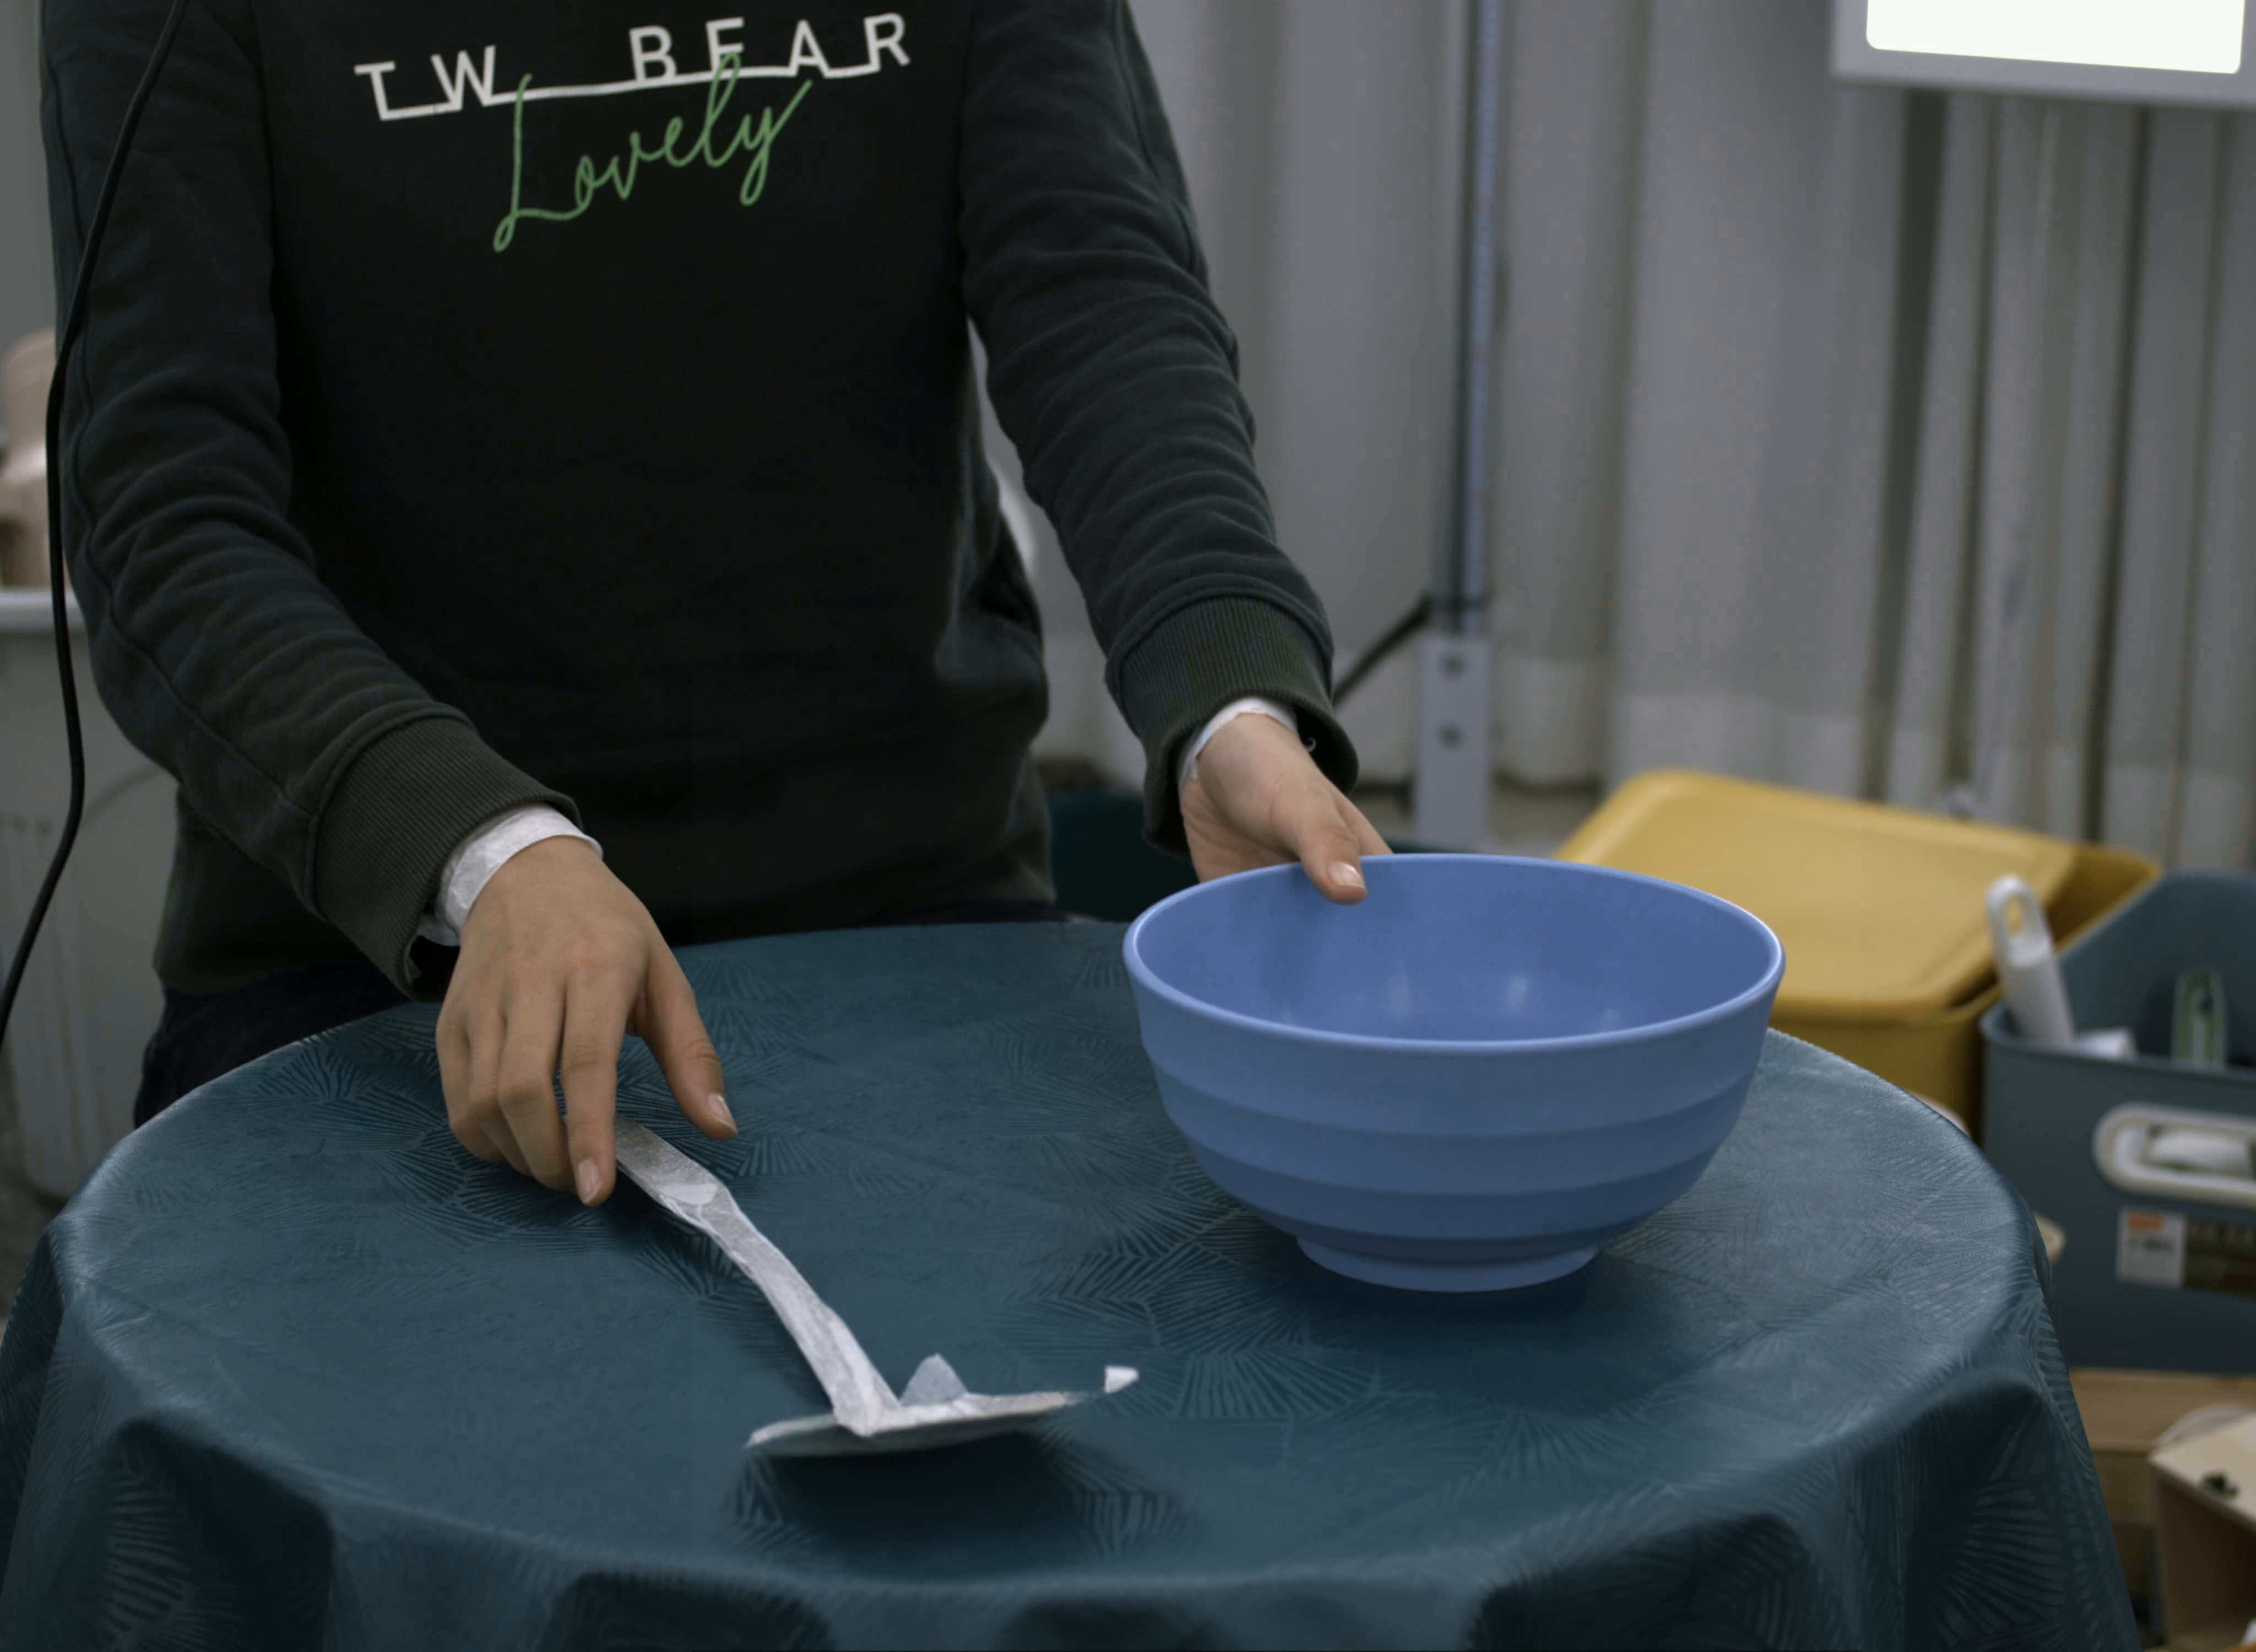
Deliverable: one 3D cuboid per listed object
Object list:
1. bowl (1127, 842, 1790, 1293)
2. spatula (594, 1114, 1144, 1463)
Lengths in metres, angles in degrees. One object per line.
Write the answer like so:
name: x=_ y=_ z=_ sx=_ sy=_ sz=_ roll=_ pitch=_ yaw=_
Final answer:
bowl: x=0.097 y=0.079 z=1.573 sx=0.196 sy=0.096 sz=0.195 roll=1 pitch=18 yaw=0
spatula: x=-0.100 y=0.123 z=1.513 sx=0.099 sy=0.045 sz=0.360 roll=-8 pitch=18 yaw=-21
